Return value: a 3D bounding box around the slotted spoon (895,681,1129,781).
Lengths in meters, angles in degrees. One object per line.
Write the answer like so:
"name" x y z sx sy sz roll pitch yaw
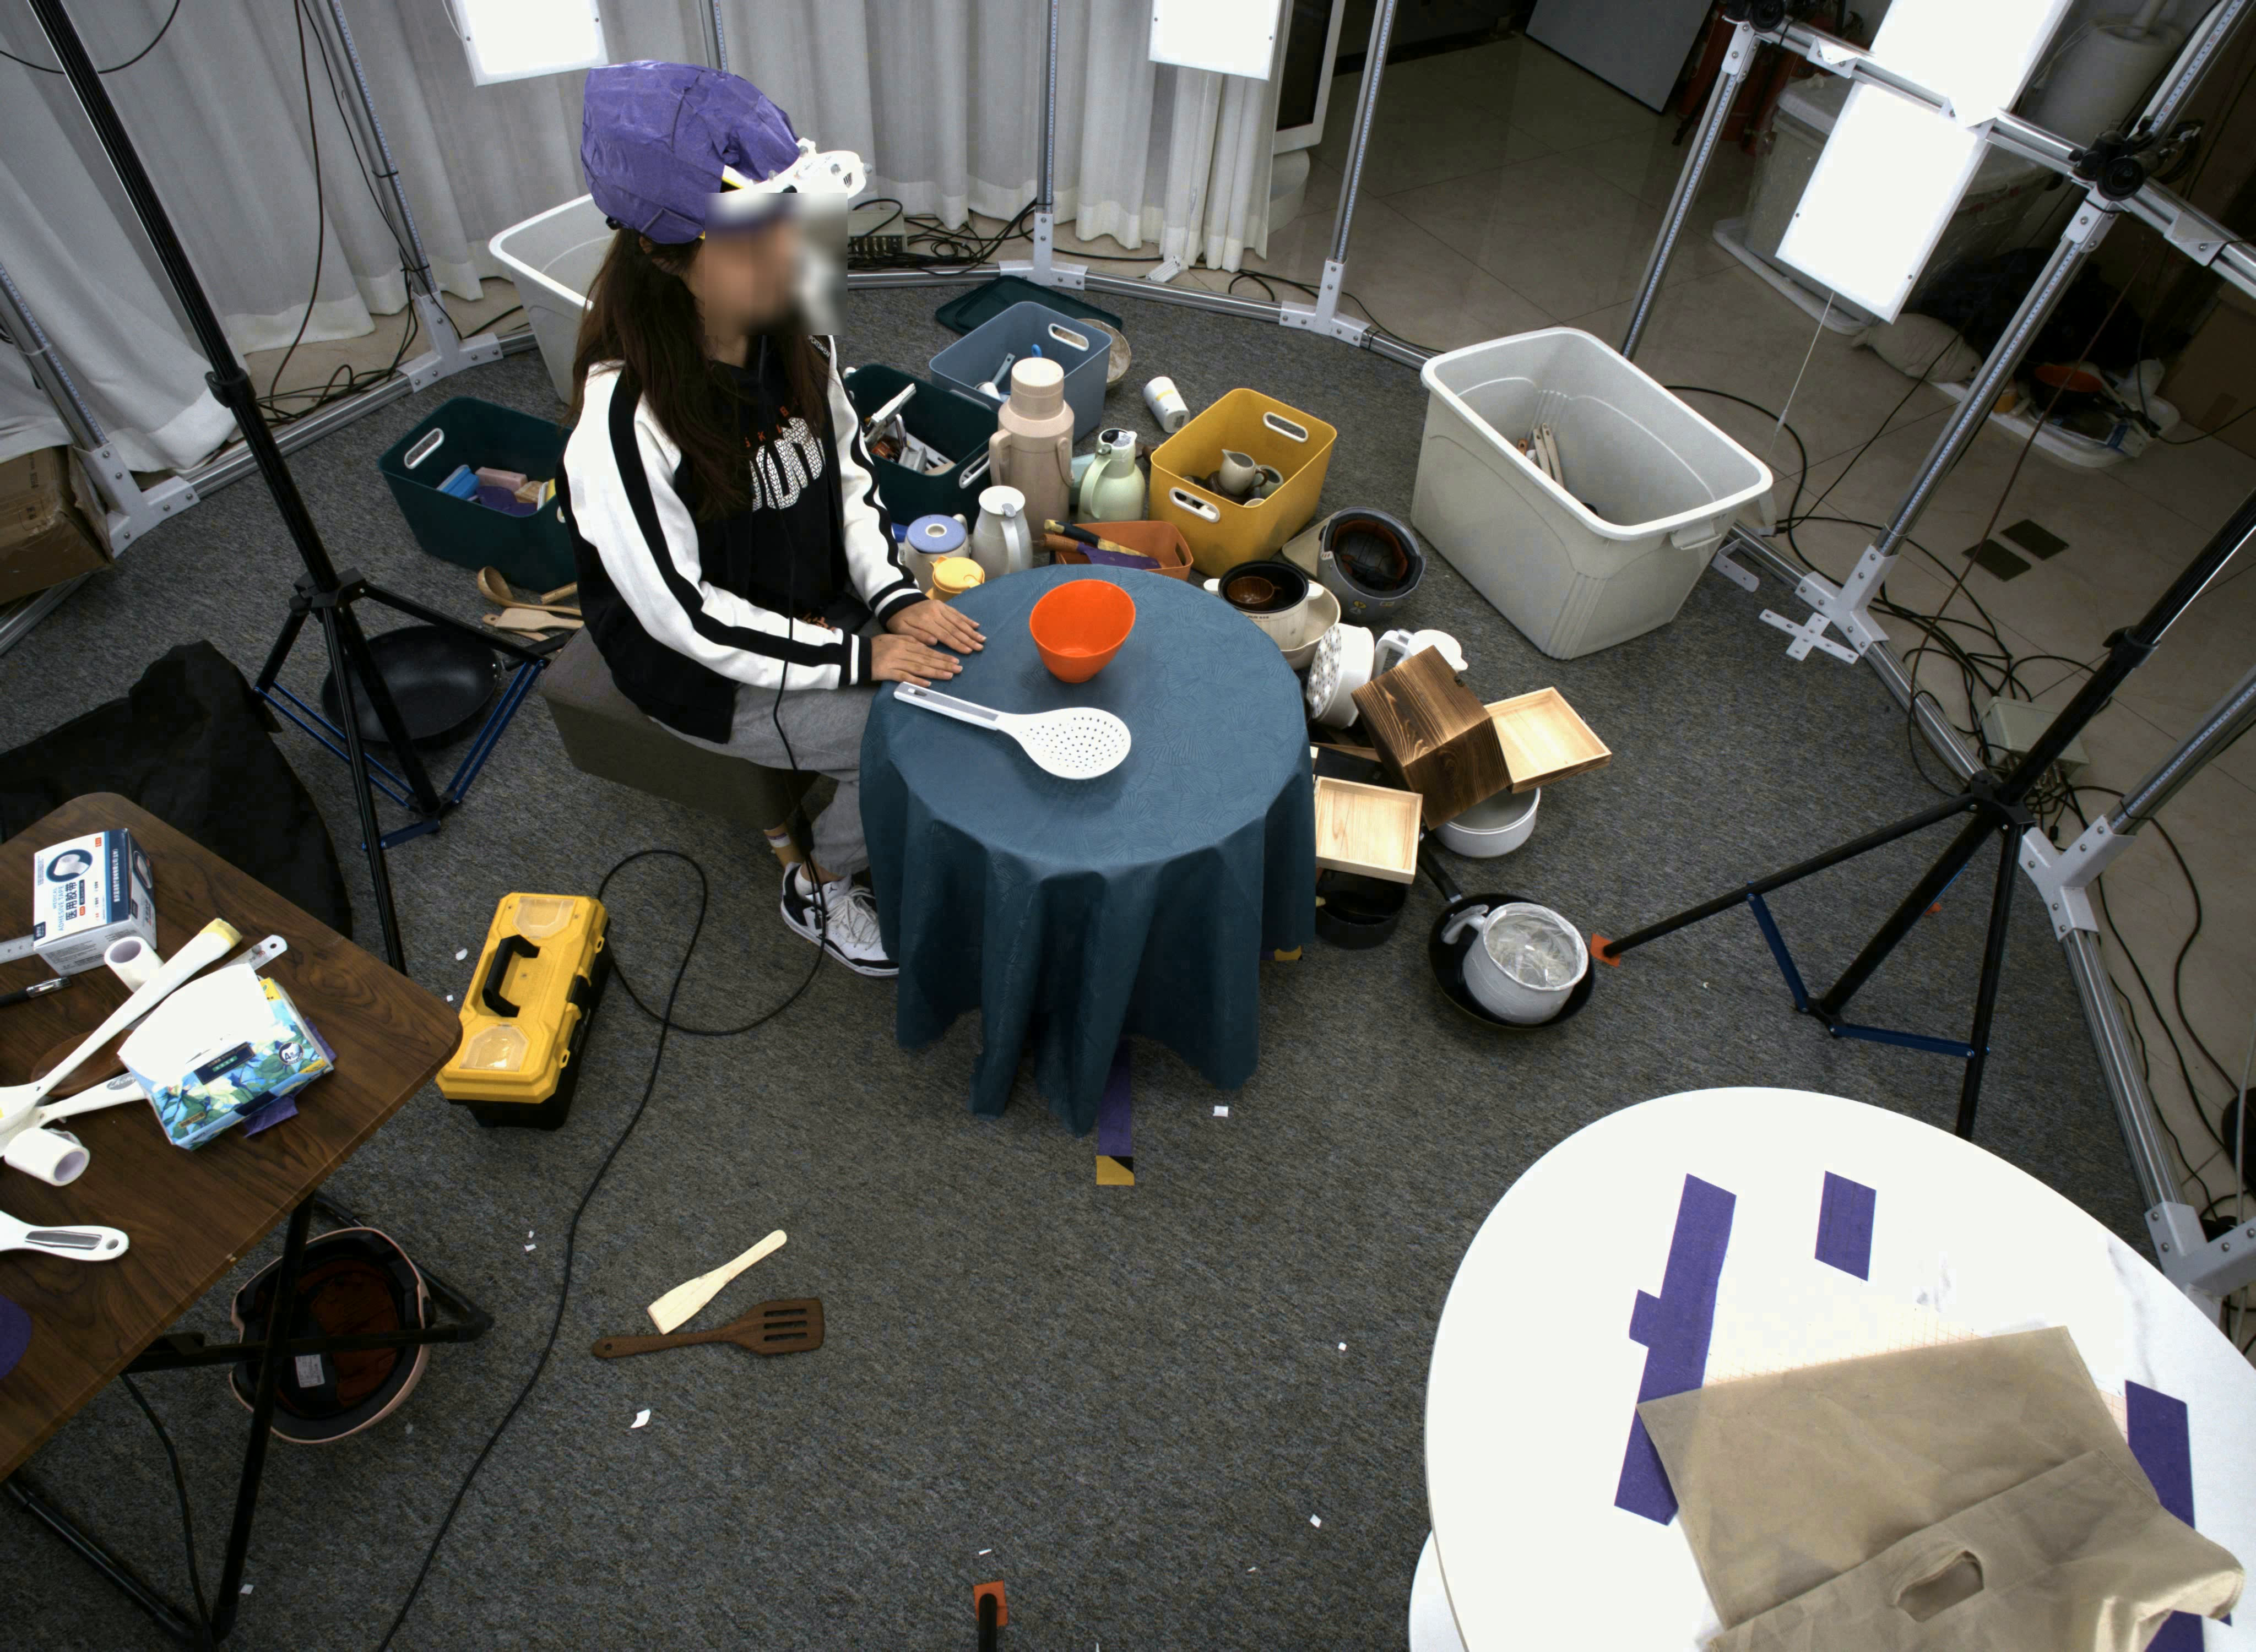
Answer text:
"slotted spoon" -0.163 -0.139 1.751 0.352 0.044 0.138 21 50 15

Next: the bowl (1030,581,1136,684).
"bowl" -0.066 -0.265 1.831 0.148 0.102 0.151 2 51 -3
